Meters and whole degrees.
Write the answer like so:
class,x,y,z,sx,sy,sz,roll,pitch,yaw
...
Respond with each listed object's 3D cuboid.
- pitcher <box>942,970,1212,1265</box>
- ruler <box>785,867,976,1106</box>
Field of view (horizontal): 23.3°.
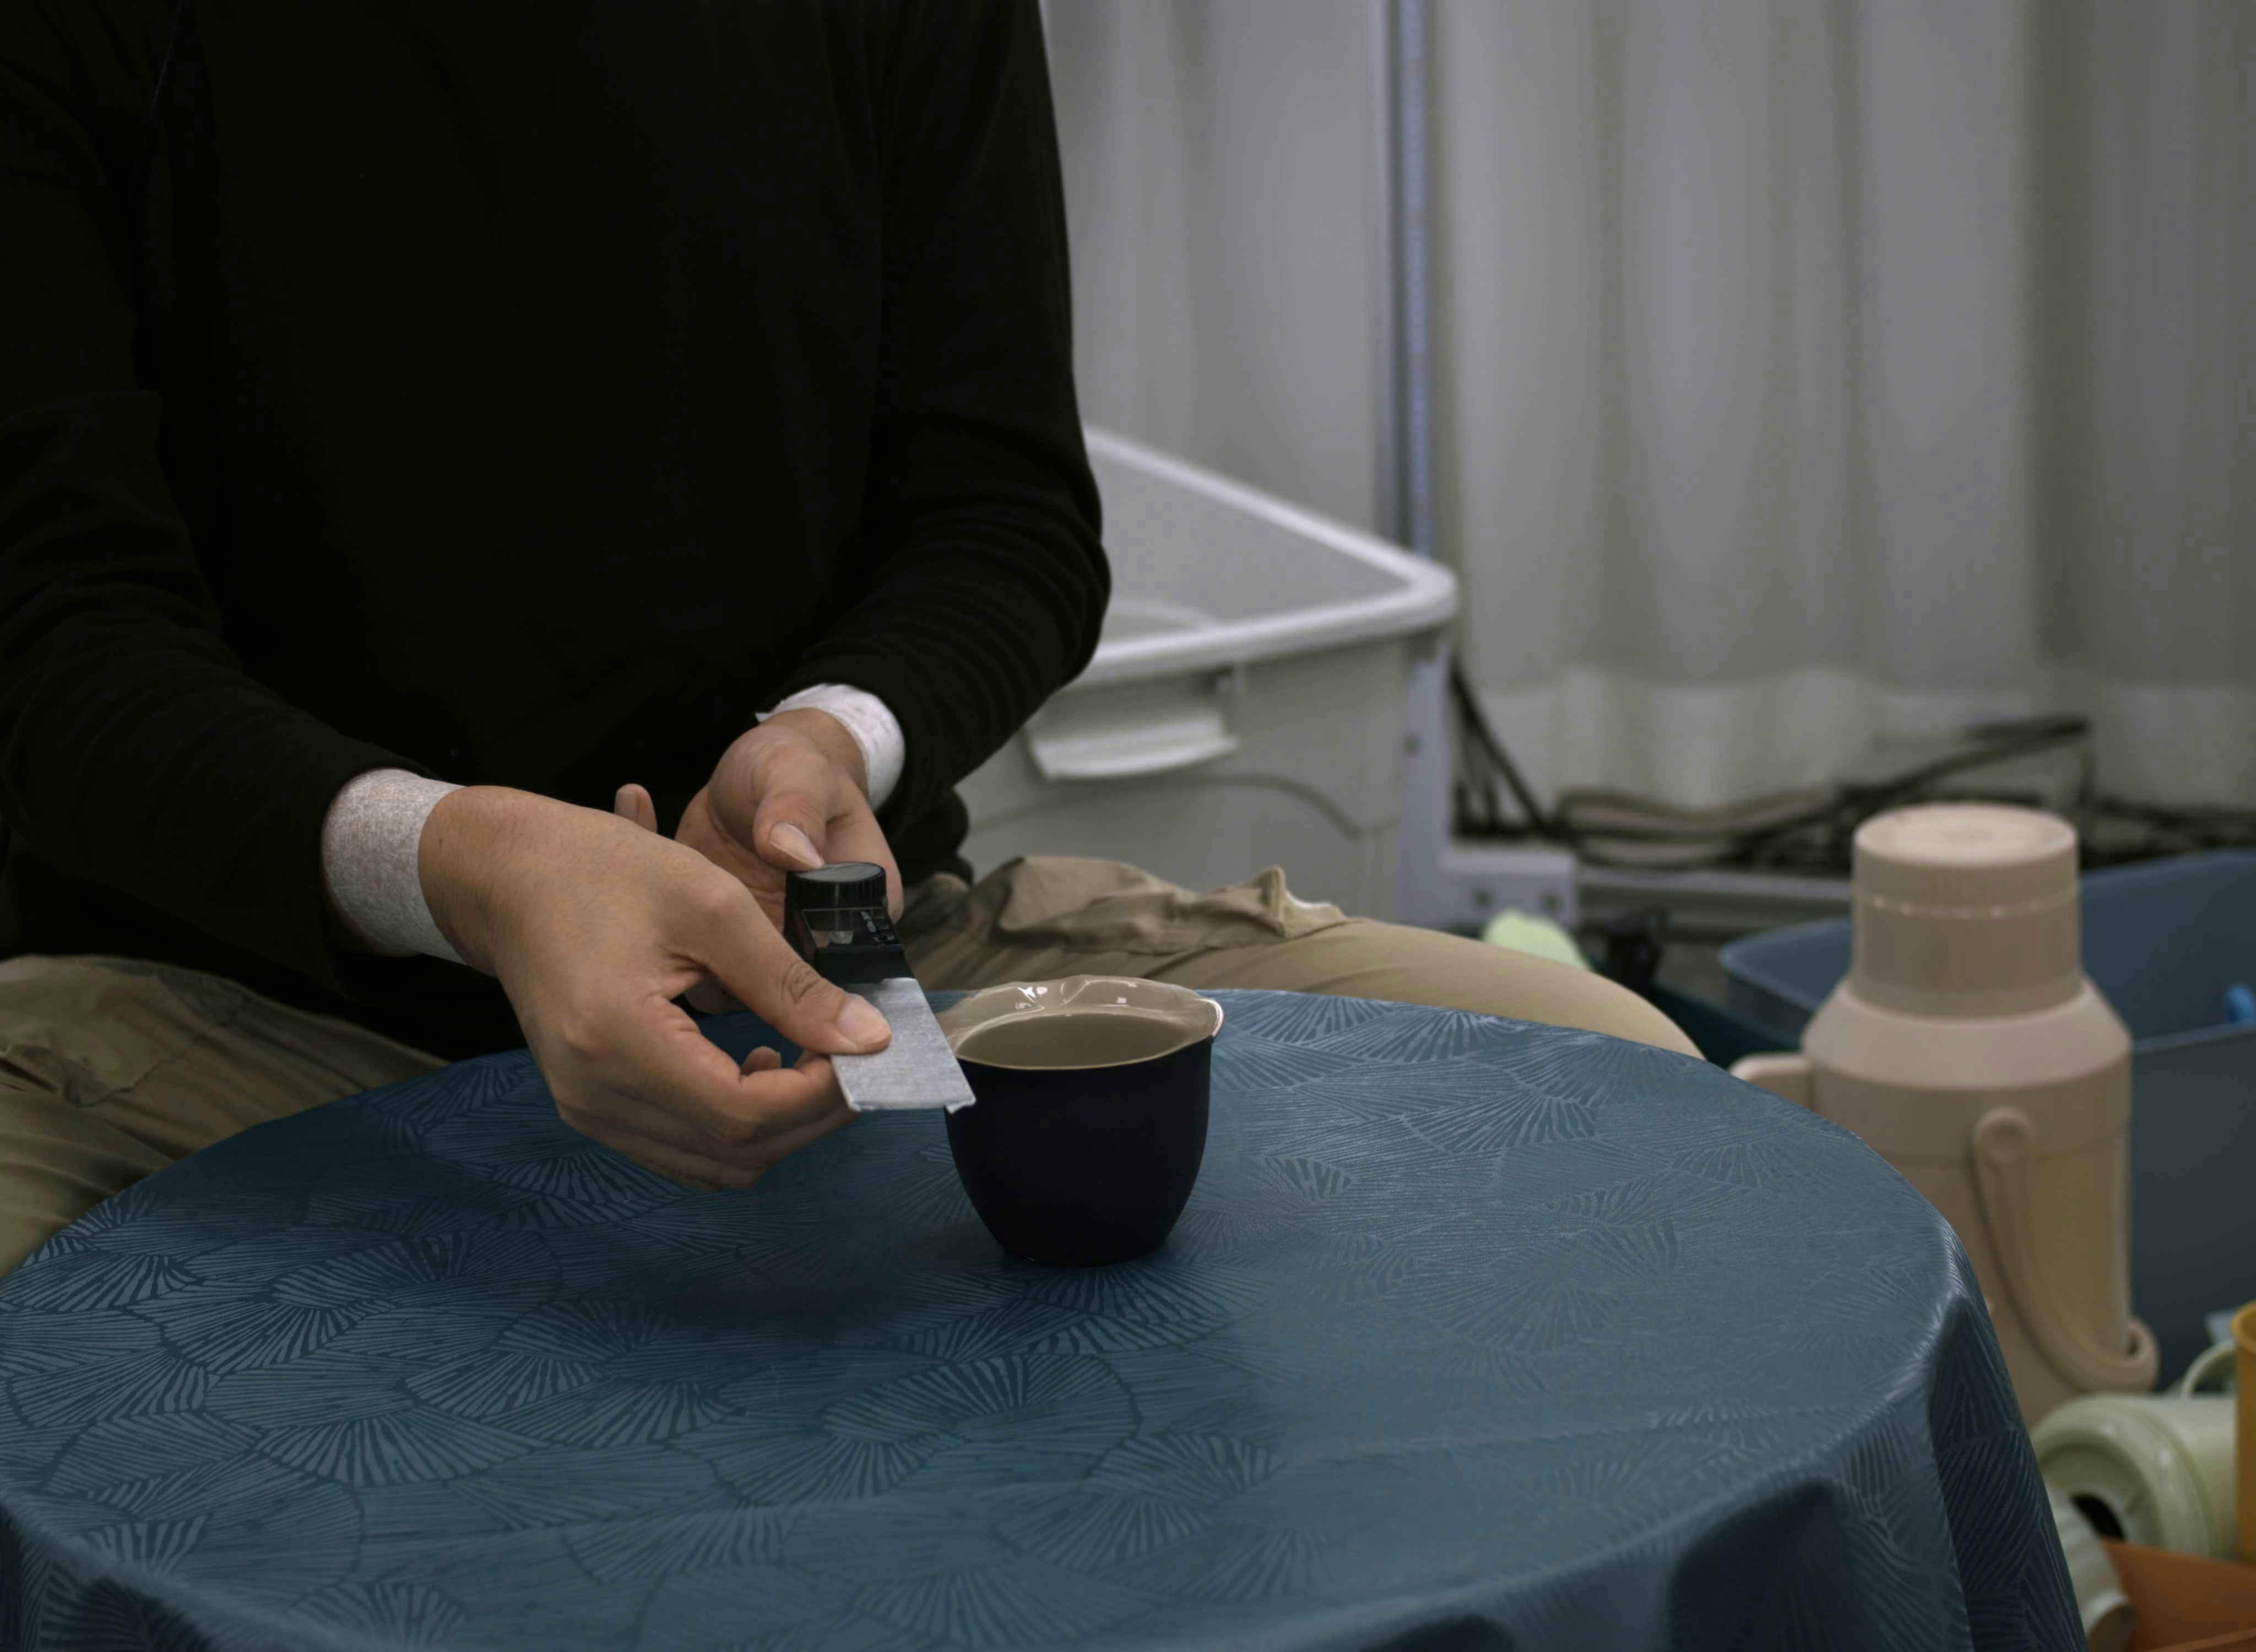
class,x,y,z,sx,sy,sz,roll,pitch,yaw
pitcher,-0.016,0.091,1.666,0.083,0.071,0.097,-6,15,-8
ruler,-0.078,0.046,1.653,0.038,0.024,0.219,-8,13,-7
